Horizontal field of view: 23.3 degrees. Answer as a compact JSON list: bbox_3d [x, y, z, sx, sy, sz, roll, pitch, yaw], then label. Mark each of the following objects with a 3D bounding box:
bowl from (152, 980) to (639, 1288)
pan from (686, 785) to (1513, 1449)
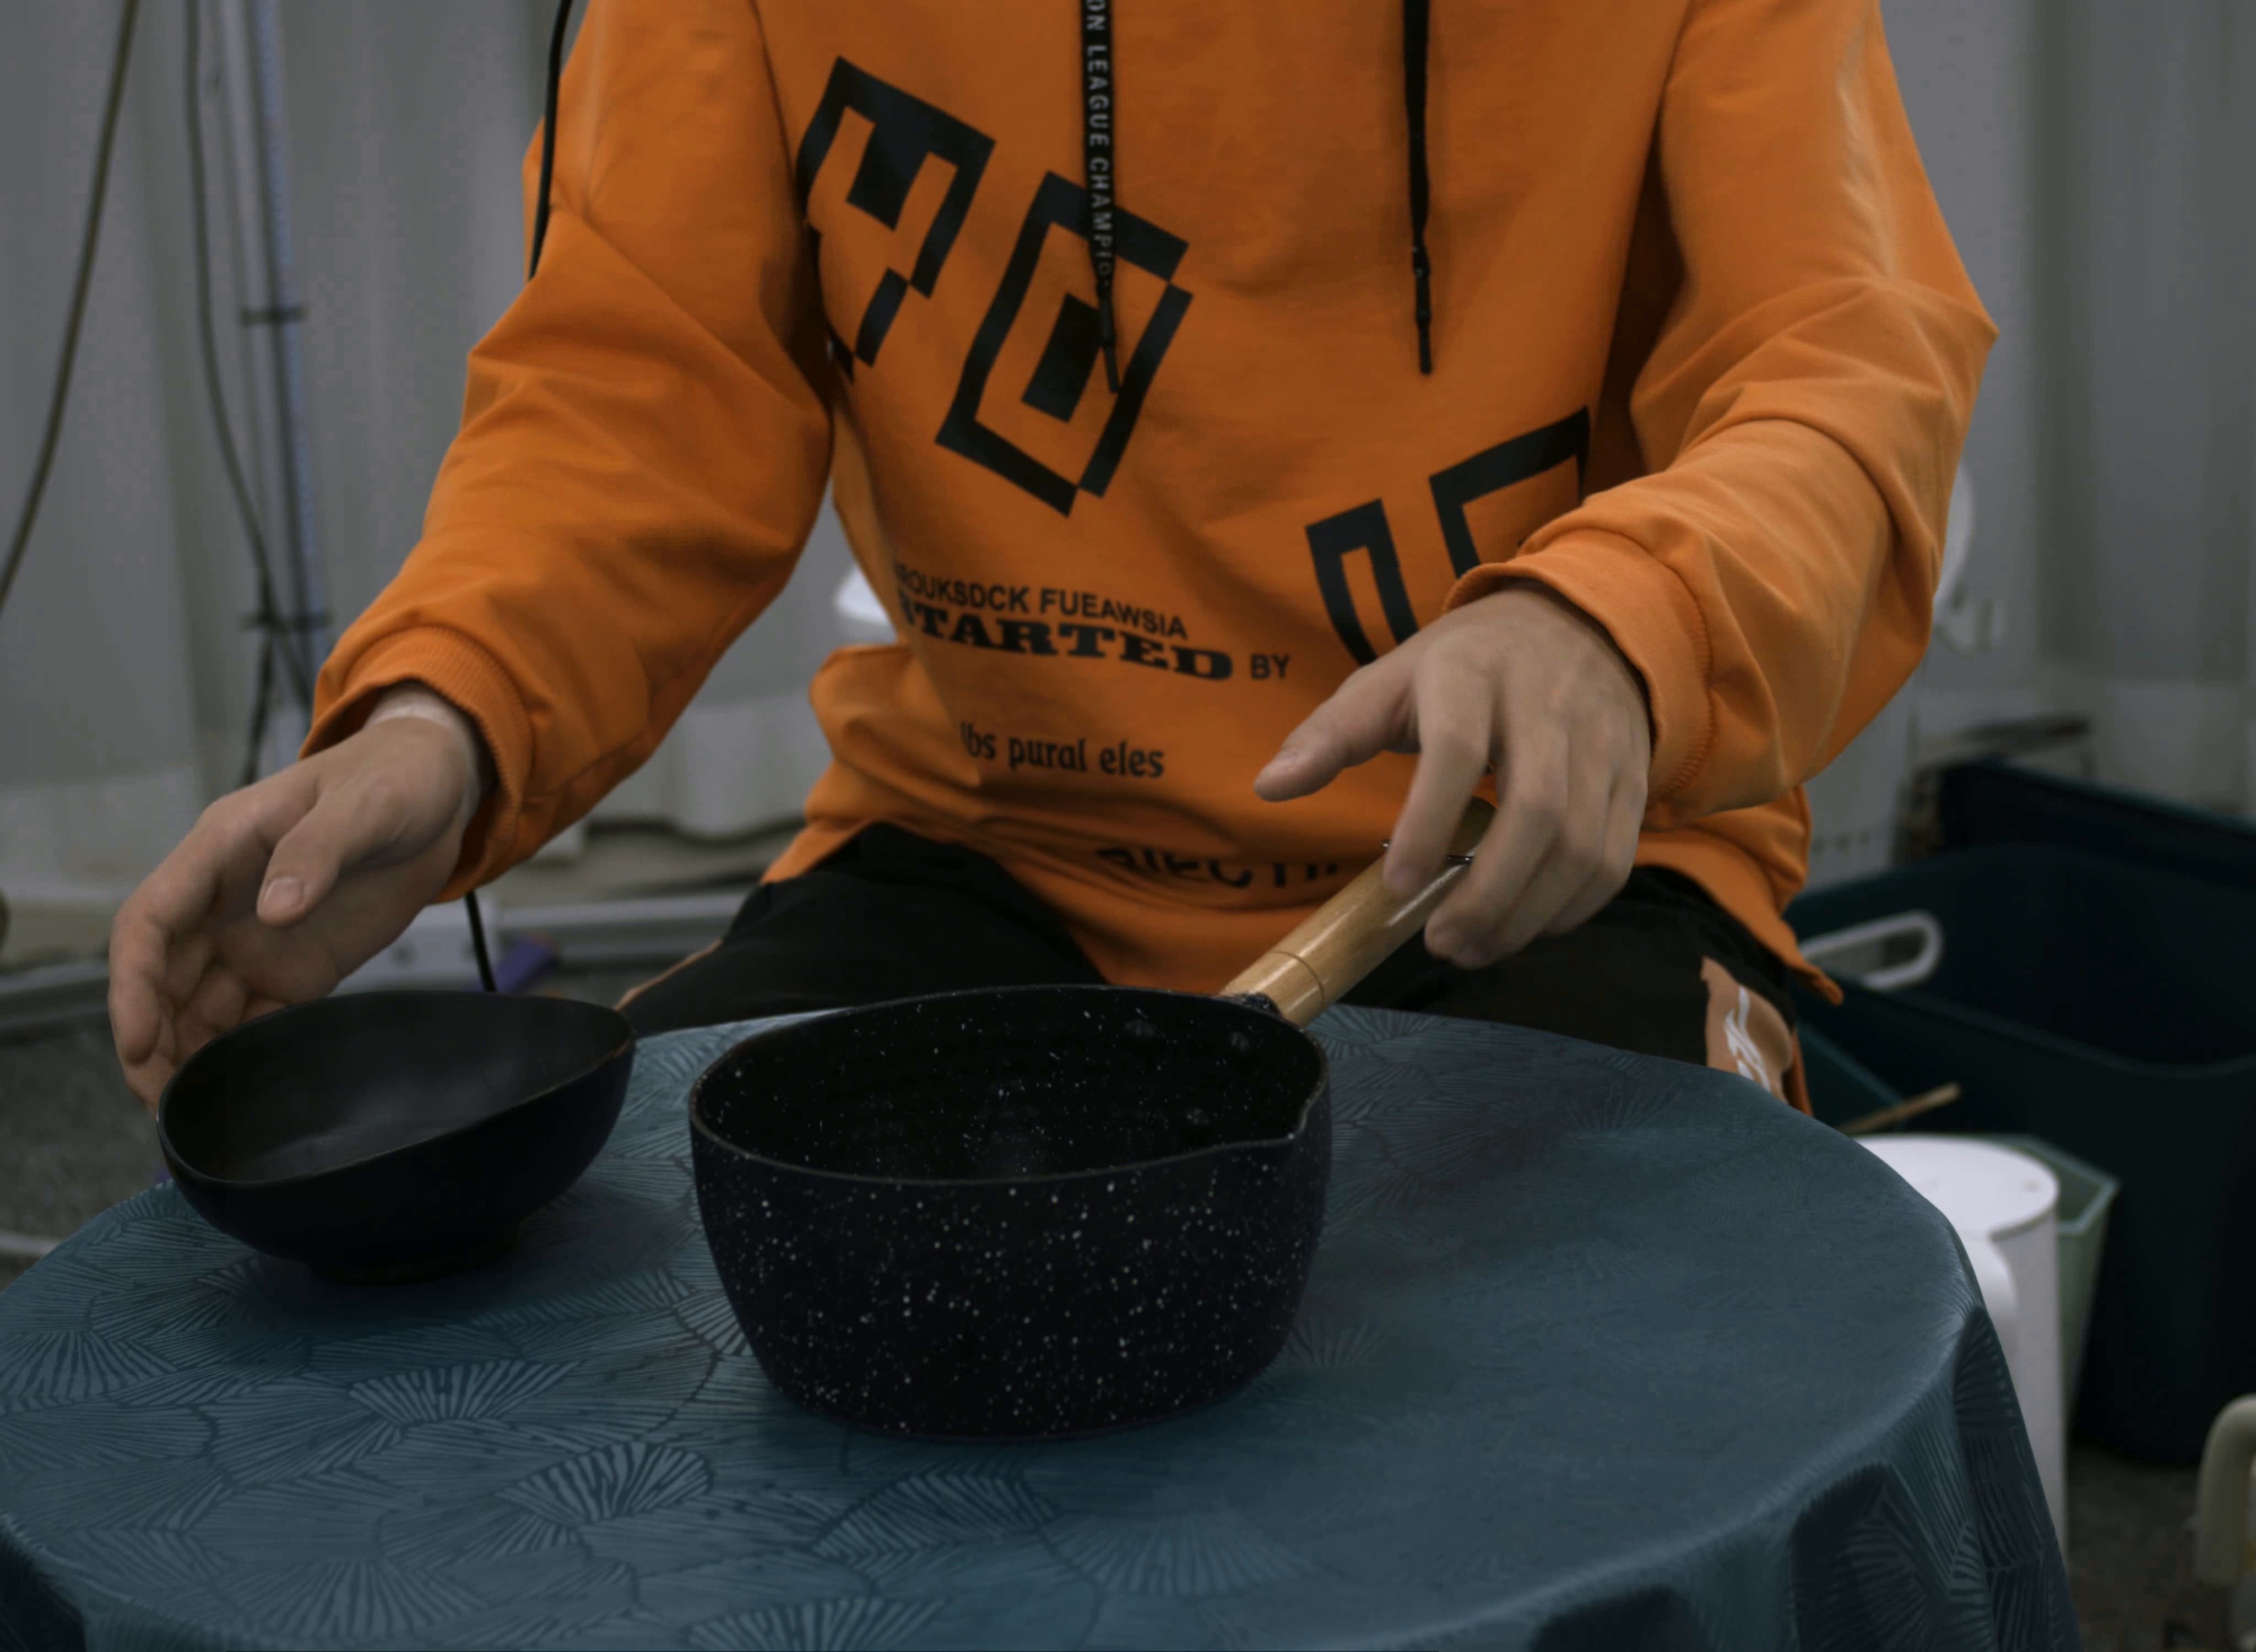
[{"bbox_3d":[-0.223,0.101,1.691,0.137,0.066,0.170,5,19,29],"label":"bowl"},{"bbox_3d":[0.014,0.082,1.629,0.208,0.108,0.343,6,19,36],"label":"pan"}]
